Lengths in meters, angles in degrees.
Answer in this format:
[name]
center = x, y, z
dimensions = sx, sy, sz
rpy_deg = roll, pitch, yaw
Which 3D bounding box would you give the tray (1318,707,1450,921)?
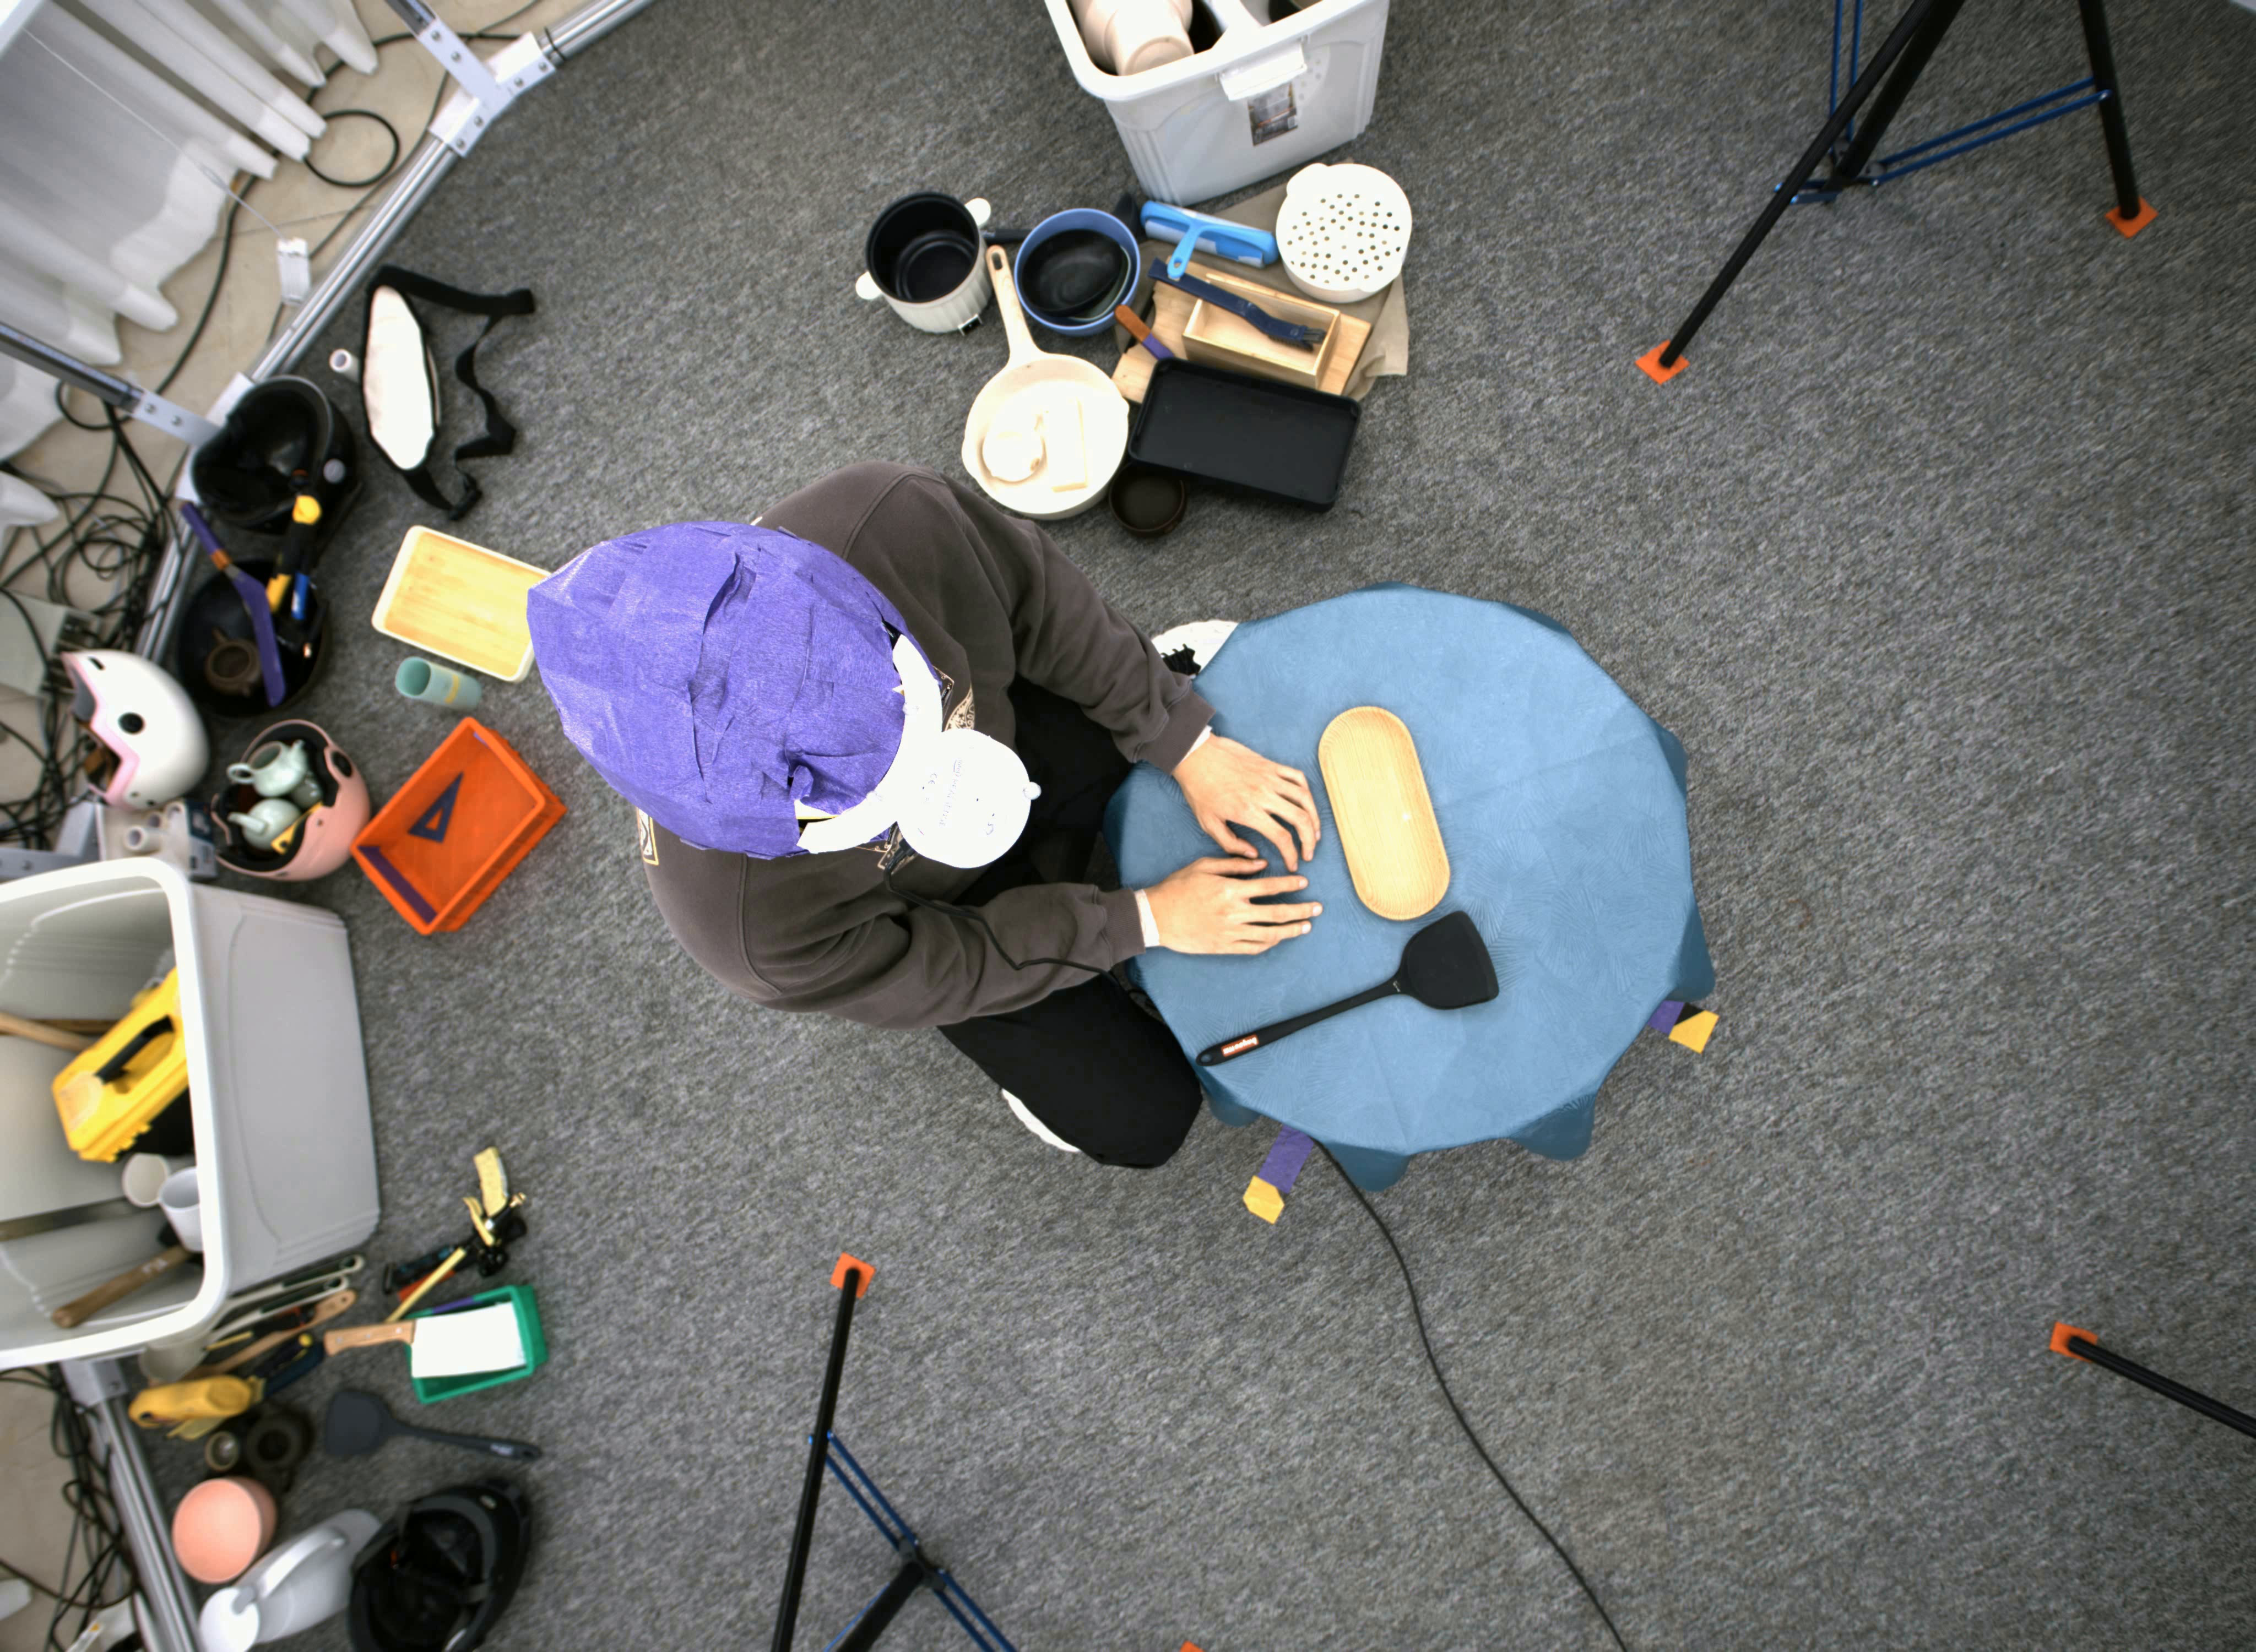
[tray]
center = 0.269, -0.014, 1.454
dimensions = 0.102, 0.020, 0.230
rpy_deg = -16, 86, 10

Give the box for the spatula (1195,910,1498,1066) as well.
[spatula]
center = 0.219, 0.187, 1.443
dimensions = 0.328, 0.040, 0.099
rpy_deg = -23, 82, 9
